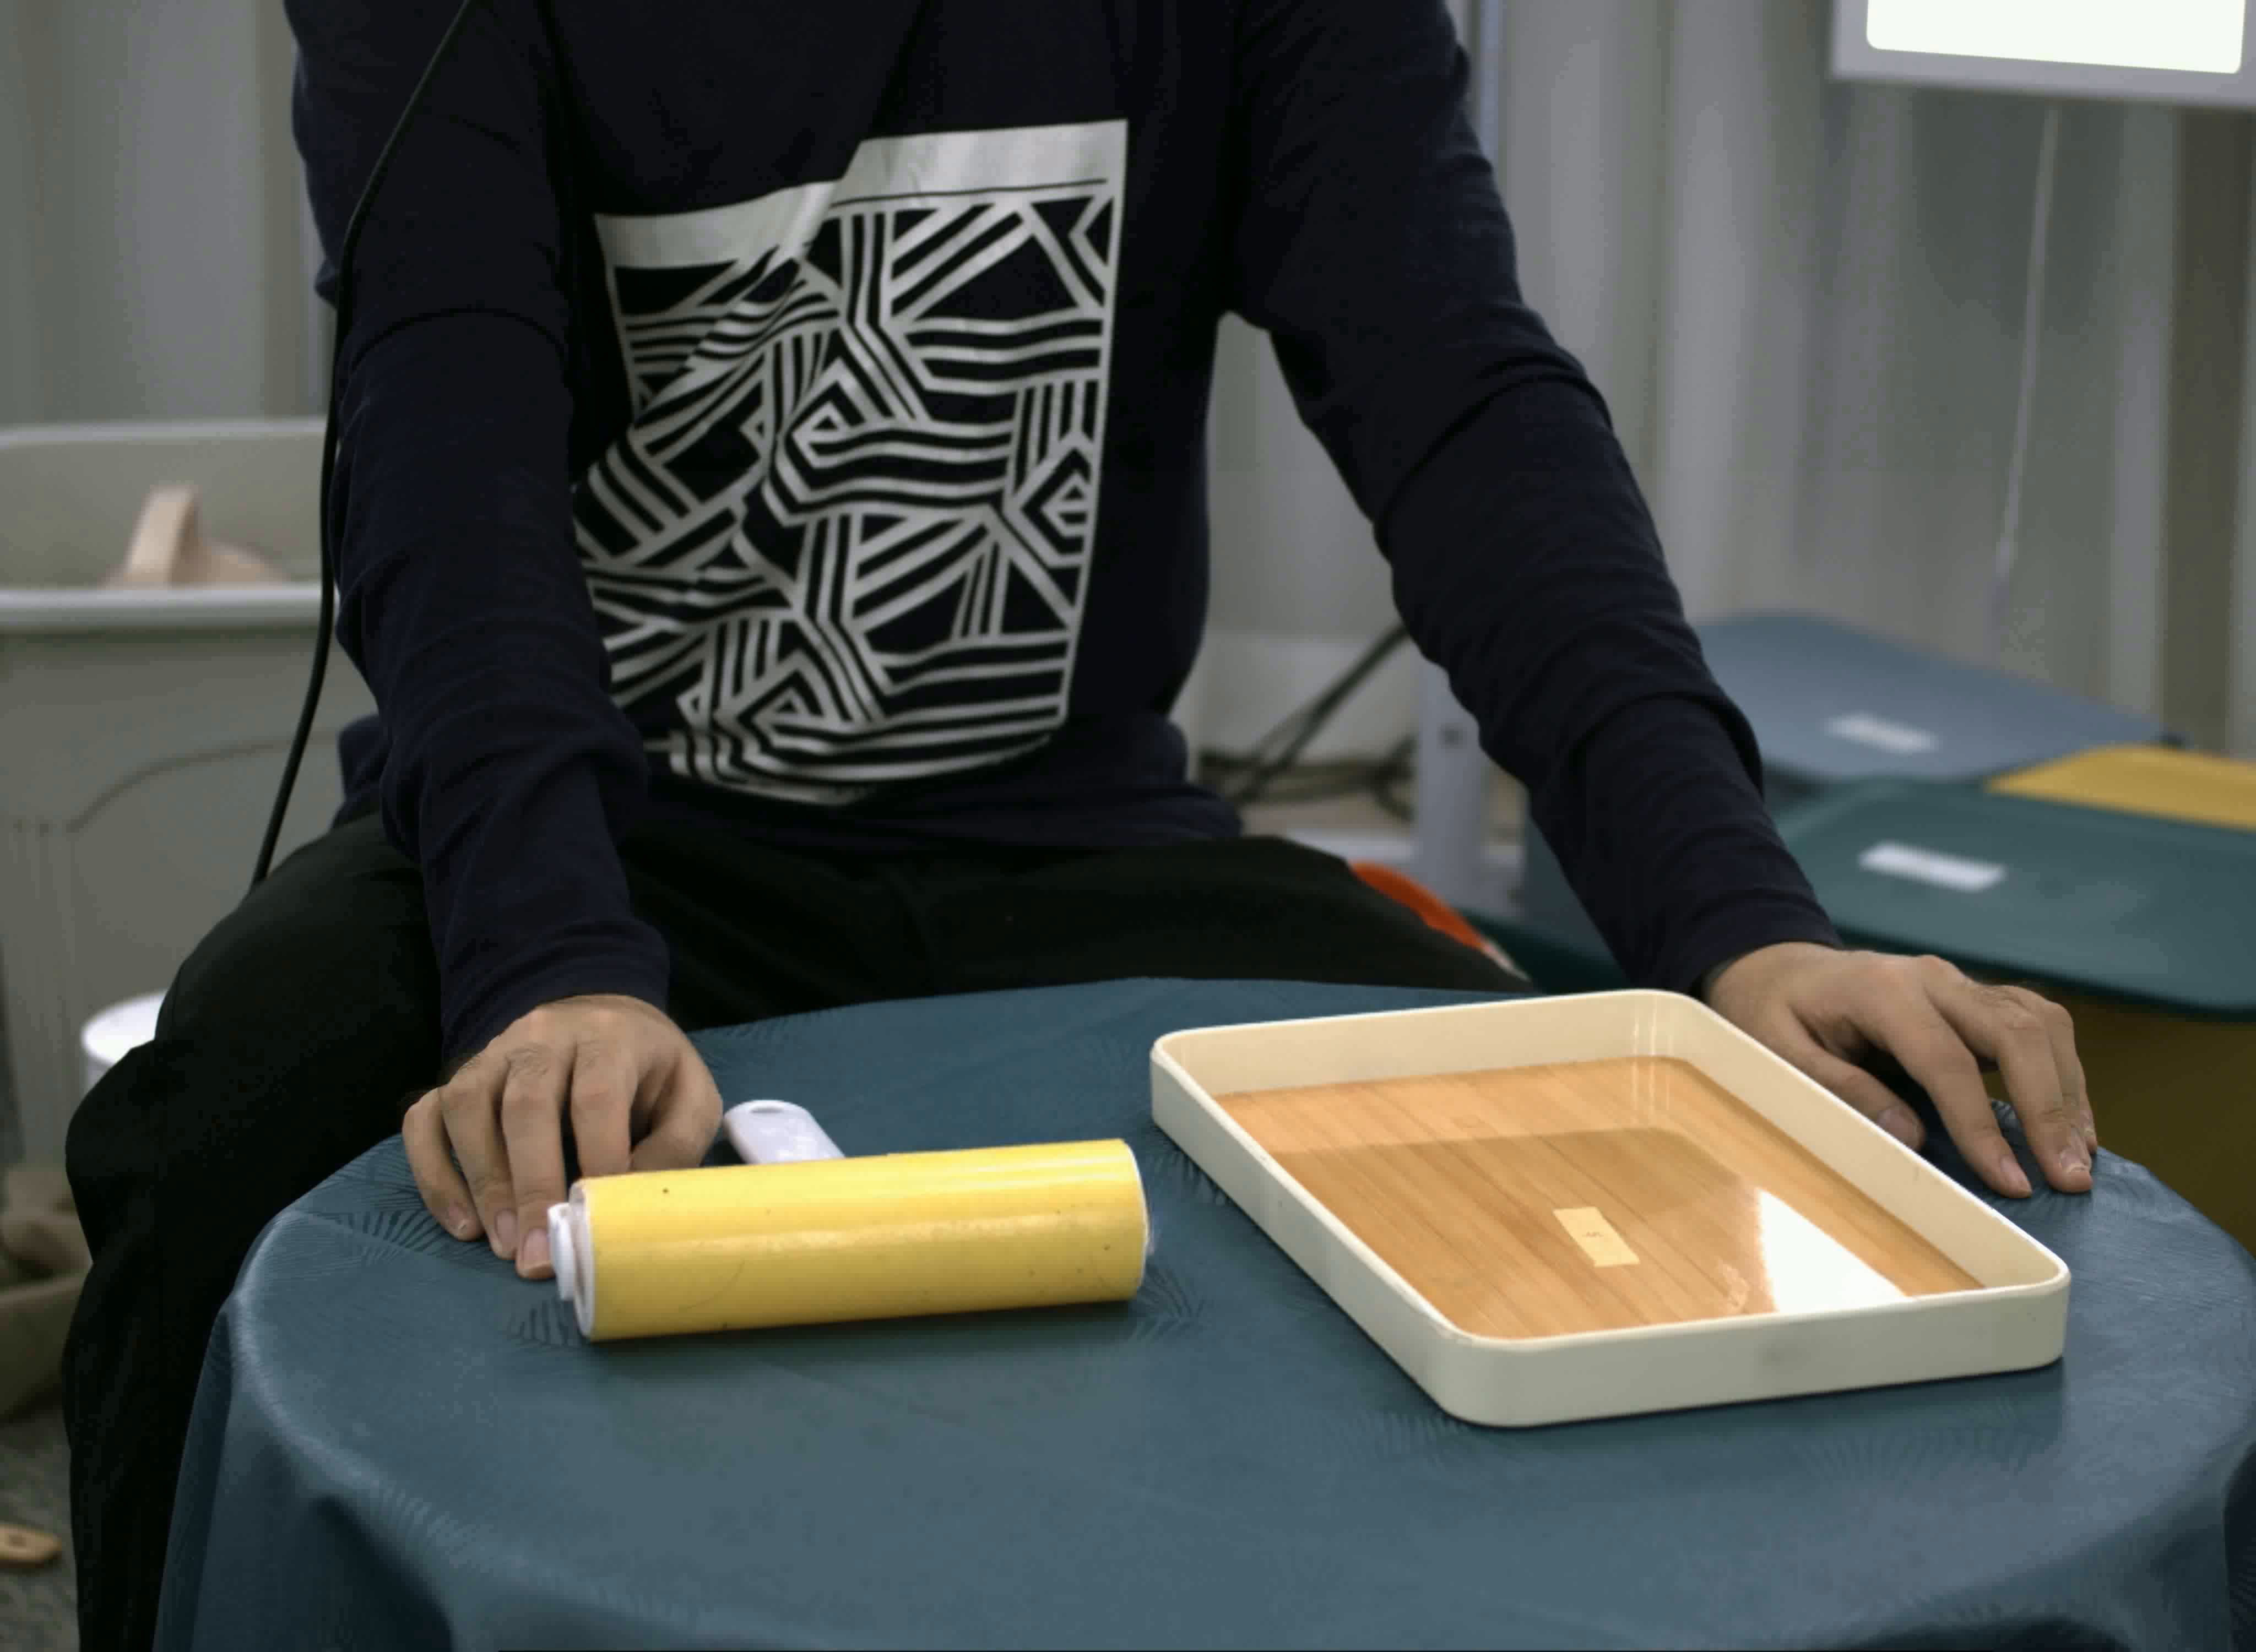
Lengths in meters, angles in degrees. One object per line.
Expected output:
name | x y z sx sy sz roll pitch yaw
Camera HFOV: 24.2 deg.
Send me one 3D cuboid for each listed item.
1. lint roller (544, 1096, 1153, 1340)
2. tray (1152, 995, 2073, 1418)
lint roller | -0.097 0.099 1.575 0.174 0.052 0.190 -3 19 -15
tray | 0.137 0.110 1.589 0.192 0.027 0.297 -3 15 -17
